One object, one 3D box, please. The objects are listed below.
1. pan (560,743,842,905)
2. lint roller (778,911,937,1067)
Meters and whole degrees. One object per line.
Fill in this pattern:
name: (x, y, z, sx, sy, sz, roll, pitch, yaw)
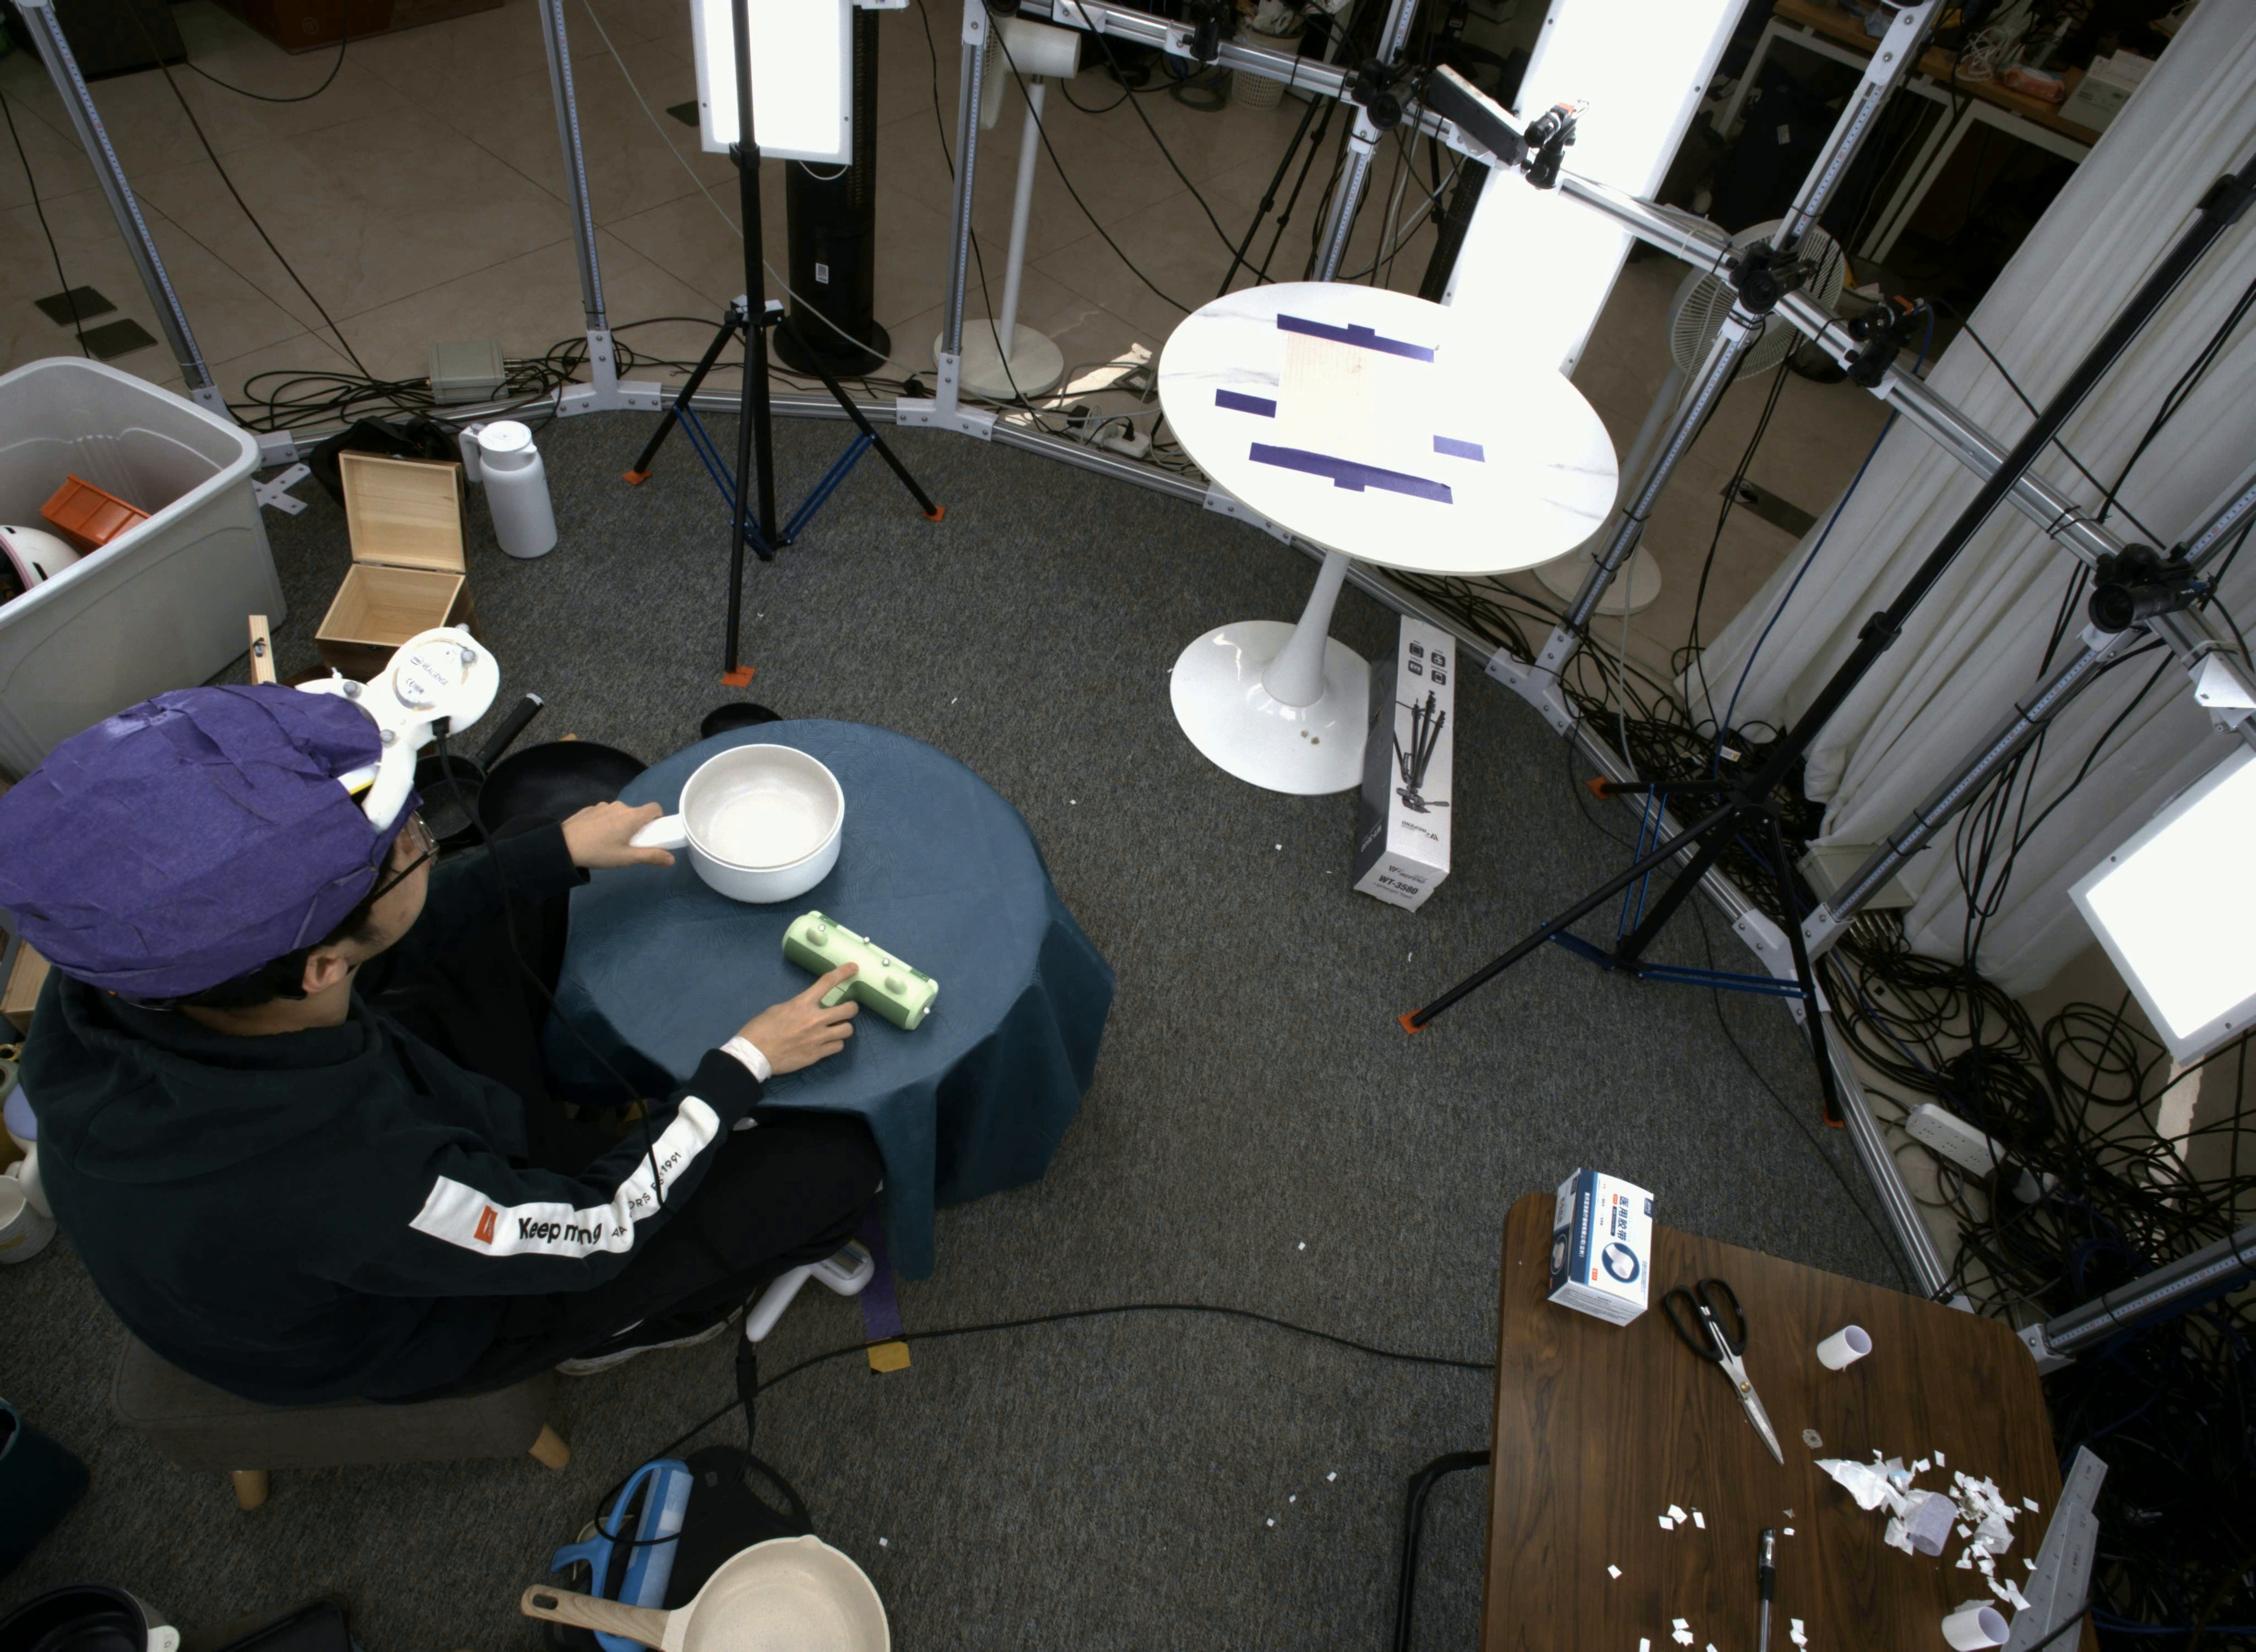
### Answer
pan: (-0.536, 0.017, 1.625, 0.356, 0.104, 0.196, -13, 59, -22)
lint roller: (-0.356, 0.202, 1.550, 0.195, 0.084, 0.182, 30, 47, 8)
